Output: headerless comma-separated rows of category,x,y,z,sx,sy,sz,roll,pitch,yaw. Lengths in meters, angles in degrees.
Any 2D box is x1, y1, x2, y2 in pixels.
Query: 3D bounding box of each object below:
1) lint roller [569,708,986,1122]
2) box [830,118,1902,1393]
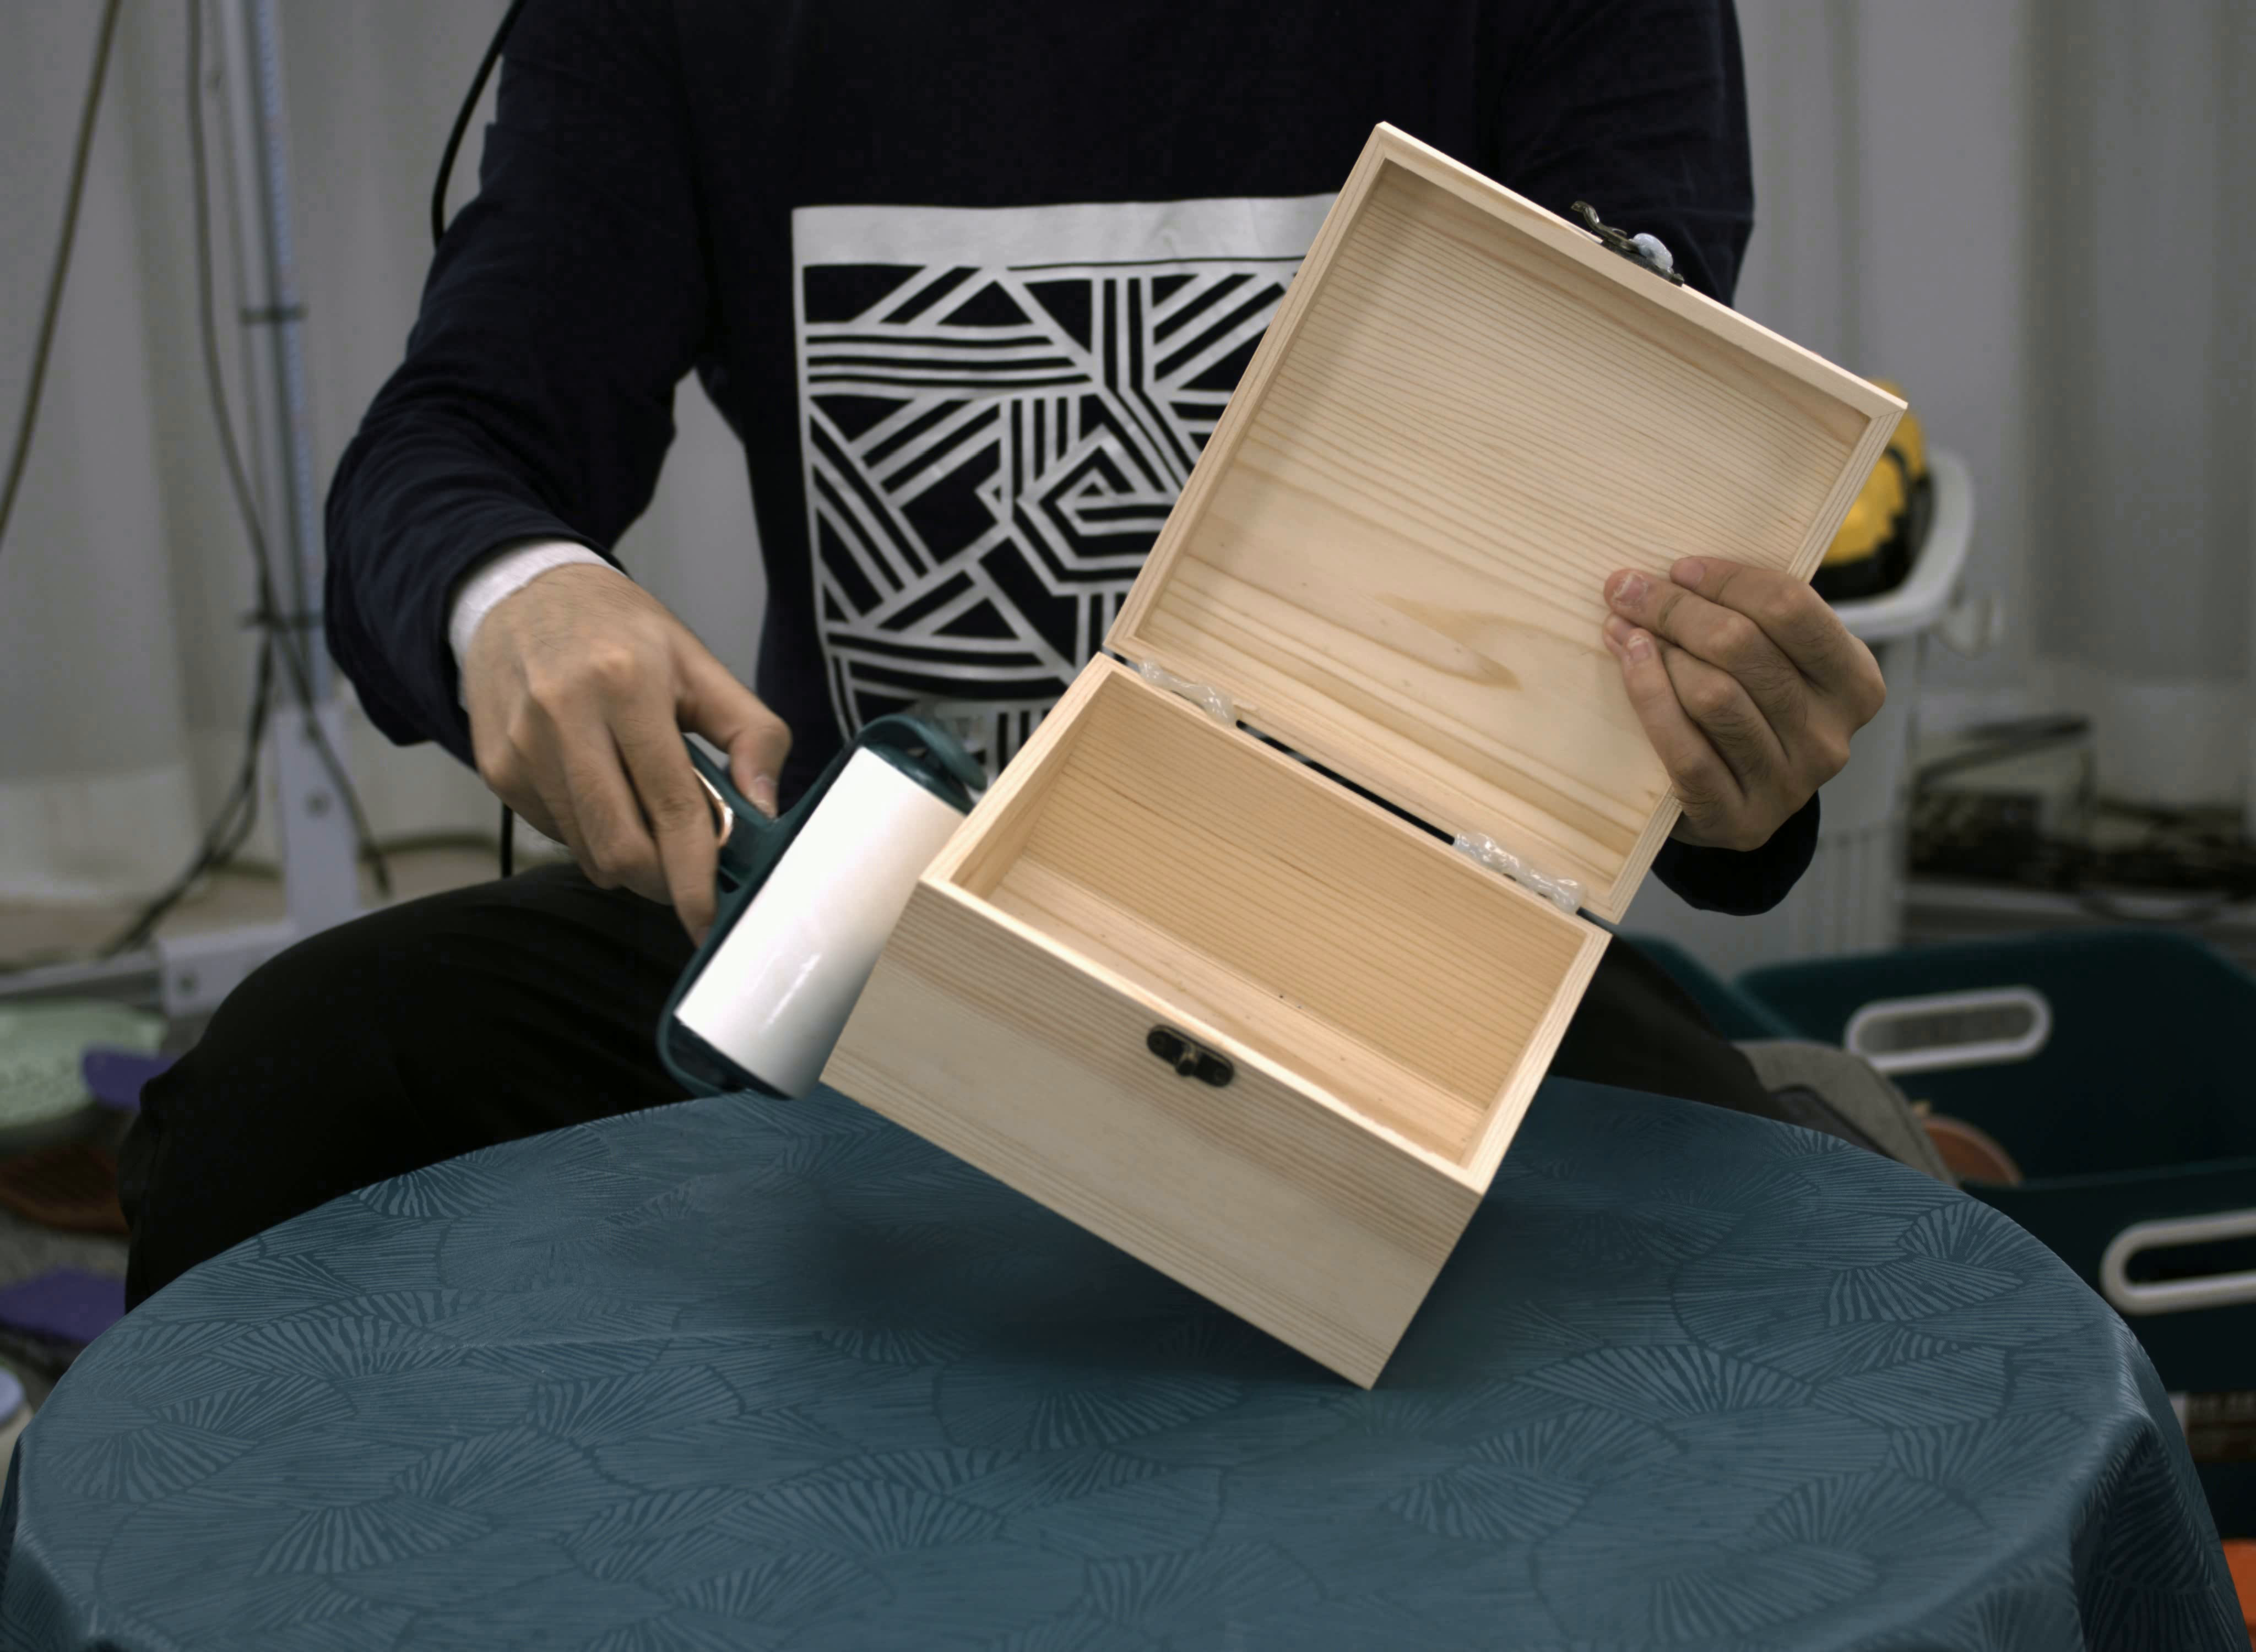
lint roller,-0.130,0.000,1.682,0.182,0.134,0.048,32,0,41
box,0.075,-0.029,1.598,0.182,0.251,0.267,27,27,4
